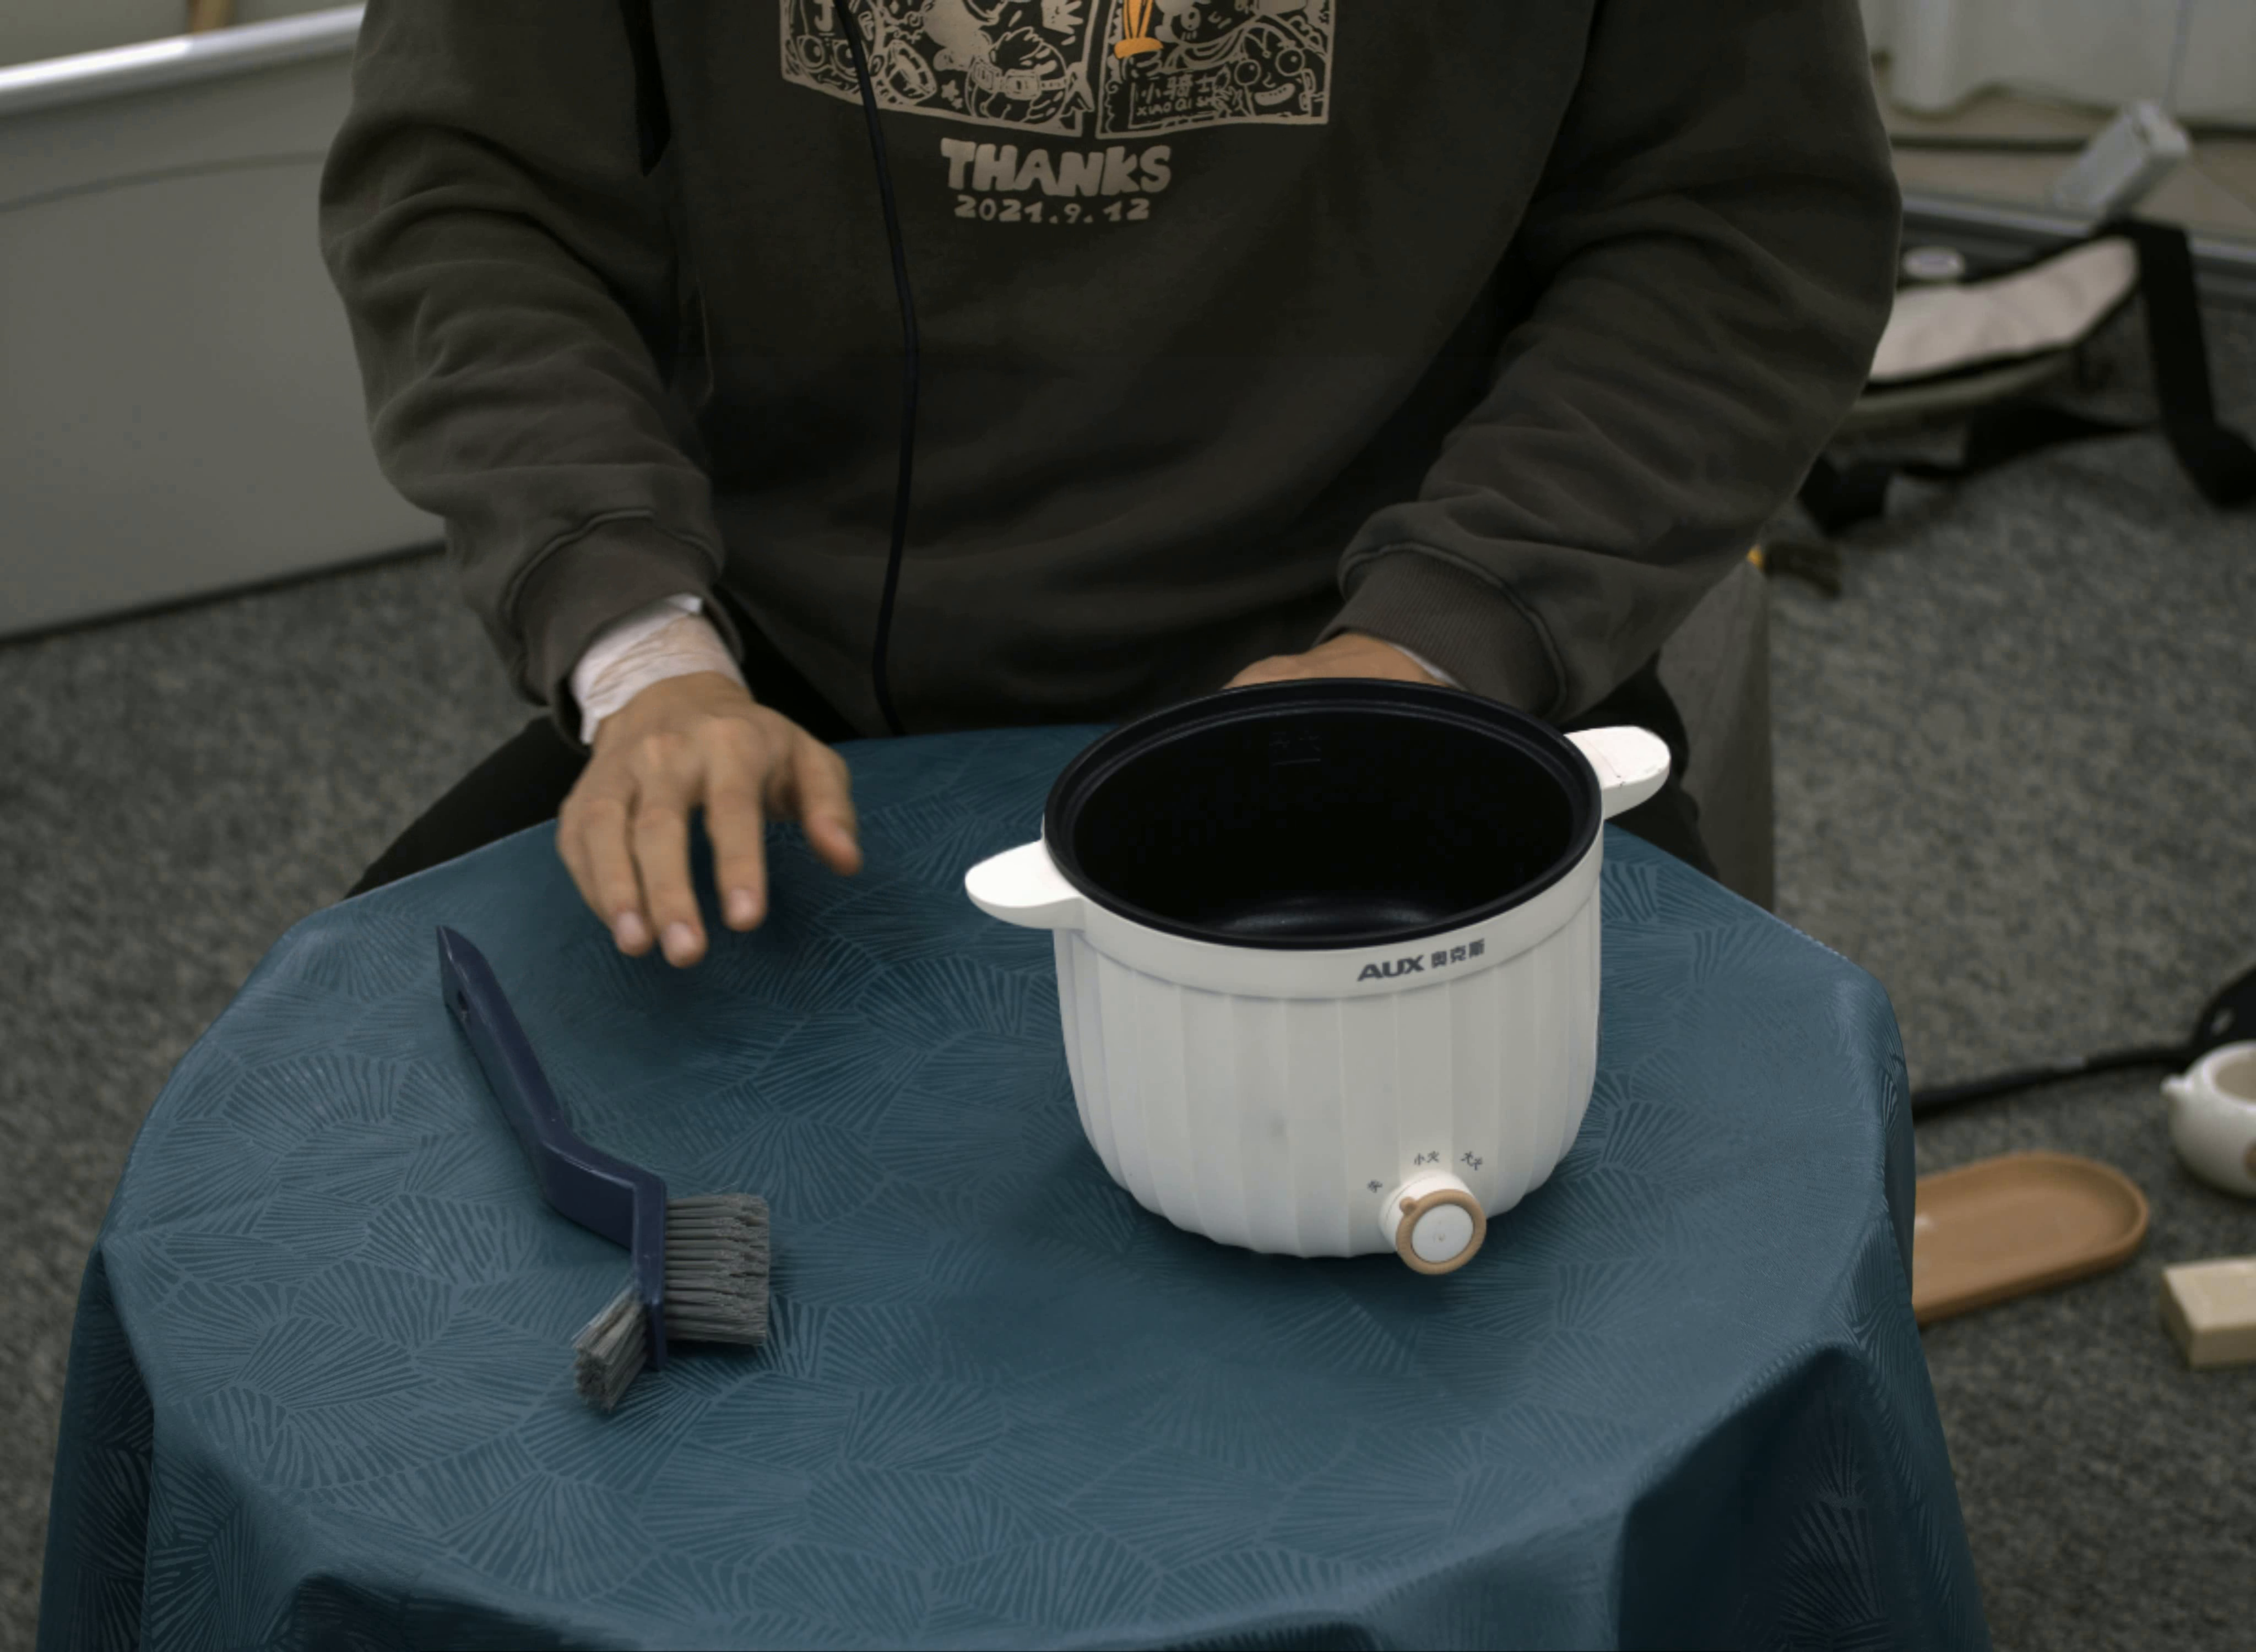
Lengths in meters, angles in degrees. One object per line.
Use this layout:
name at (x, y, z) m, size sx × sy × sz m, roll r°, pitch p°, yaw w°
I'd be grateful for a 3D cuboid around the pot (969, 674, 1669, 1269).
pot at (0.070, 0.052, 1.837) m, size 0.241 × 0.141 × 0.192 m, roll -13°, pitch 25°, yaw -15°

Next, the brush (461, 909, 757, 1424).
brush at (-0.197, 0.108, 1.872) m, size 0.096 × 0.033 × 0.275 m, roll -16°, pitch 32°, yaw -22°
